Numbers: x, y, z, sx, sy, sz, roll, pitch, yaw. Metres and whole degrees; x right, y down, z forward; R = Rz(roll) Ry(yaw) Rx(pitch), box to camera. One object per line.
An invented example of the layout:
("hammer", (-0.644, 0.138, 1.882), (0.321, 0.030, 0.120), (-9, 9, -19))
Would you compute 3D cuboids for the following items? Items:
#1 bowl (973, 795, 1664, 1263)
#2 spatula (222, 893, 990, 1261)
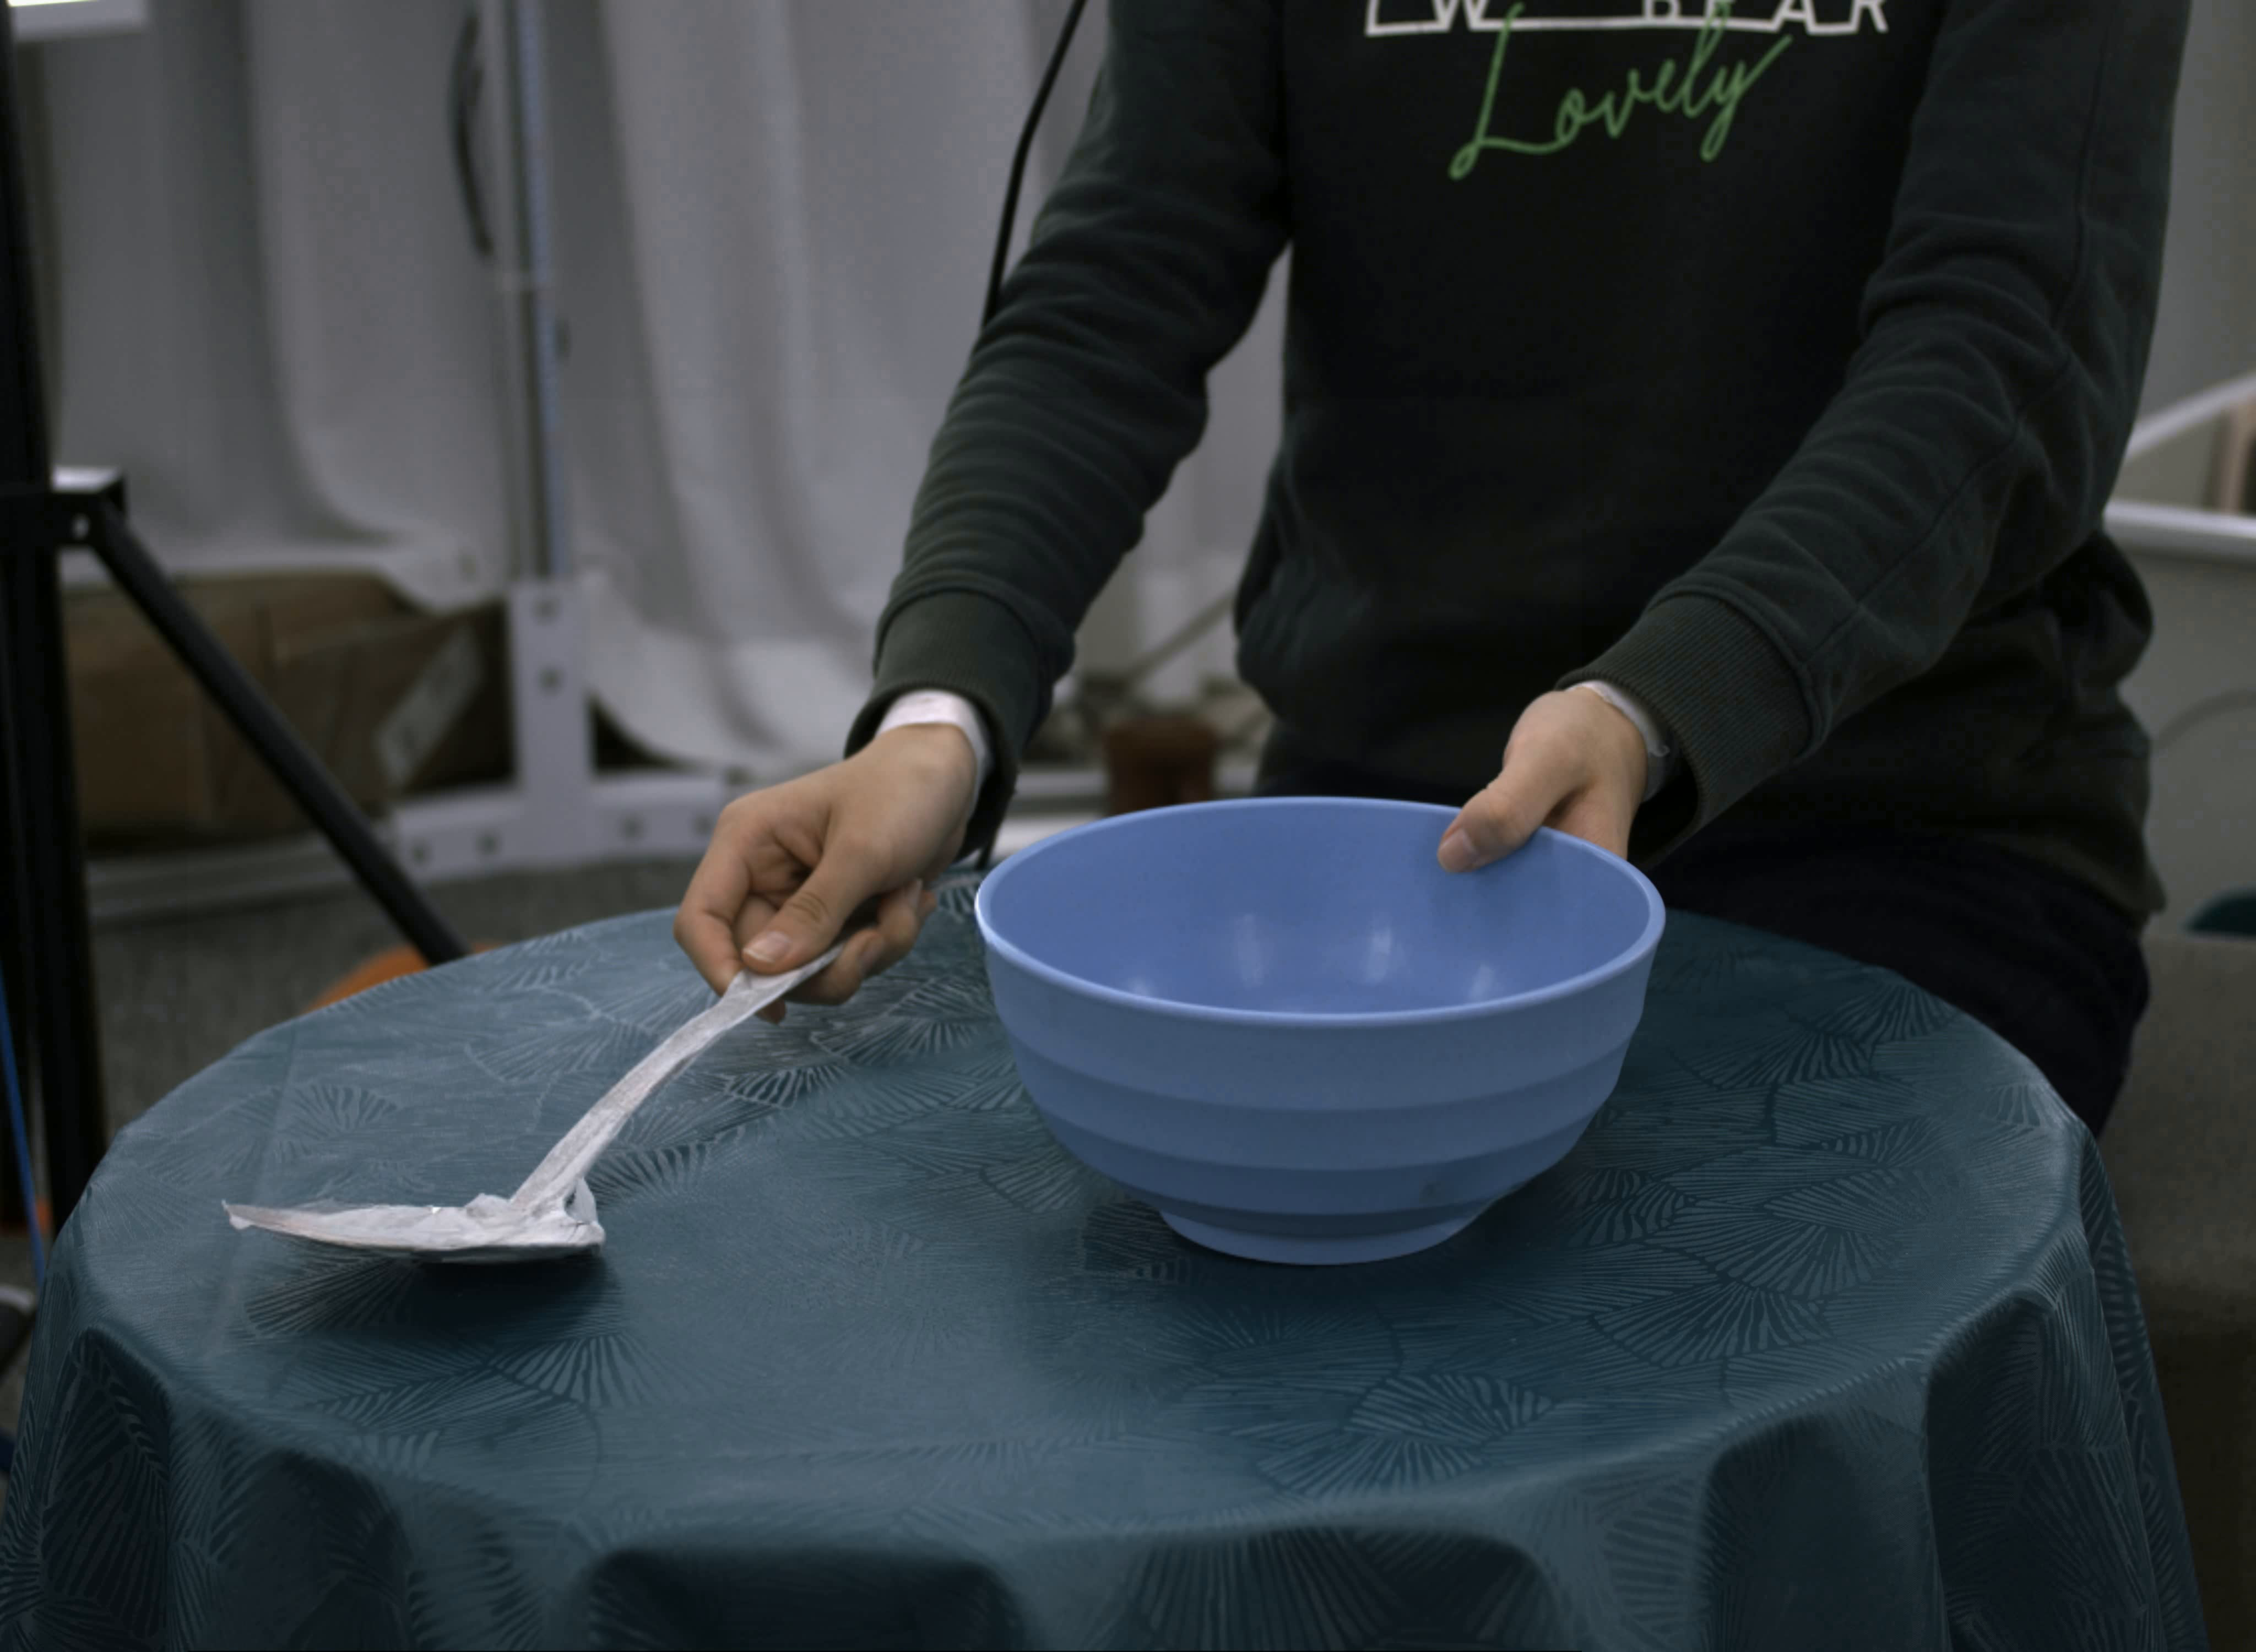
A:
("bowl", (0.055, 0.064, 1.518), (0.195, 0.095, 0.197), (-2, 18, -1))
("spatula", (-0.136, 0.068, 1.615), (0.100, 0.044, 0.360), (2, 22, 28))
